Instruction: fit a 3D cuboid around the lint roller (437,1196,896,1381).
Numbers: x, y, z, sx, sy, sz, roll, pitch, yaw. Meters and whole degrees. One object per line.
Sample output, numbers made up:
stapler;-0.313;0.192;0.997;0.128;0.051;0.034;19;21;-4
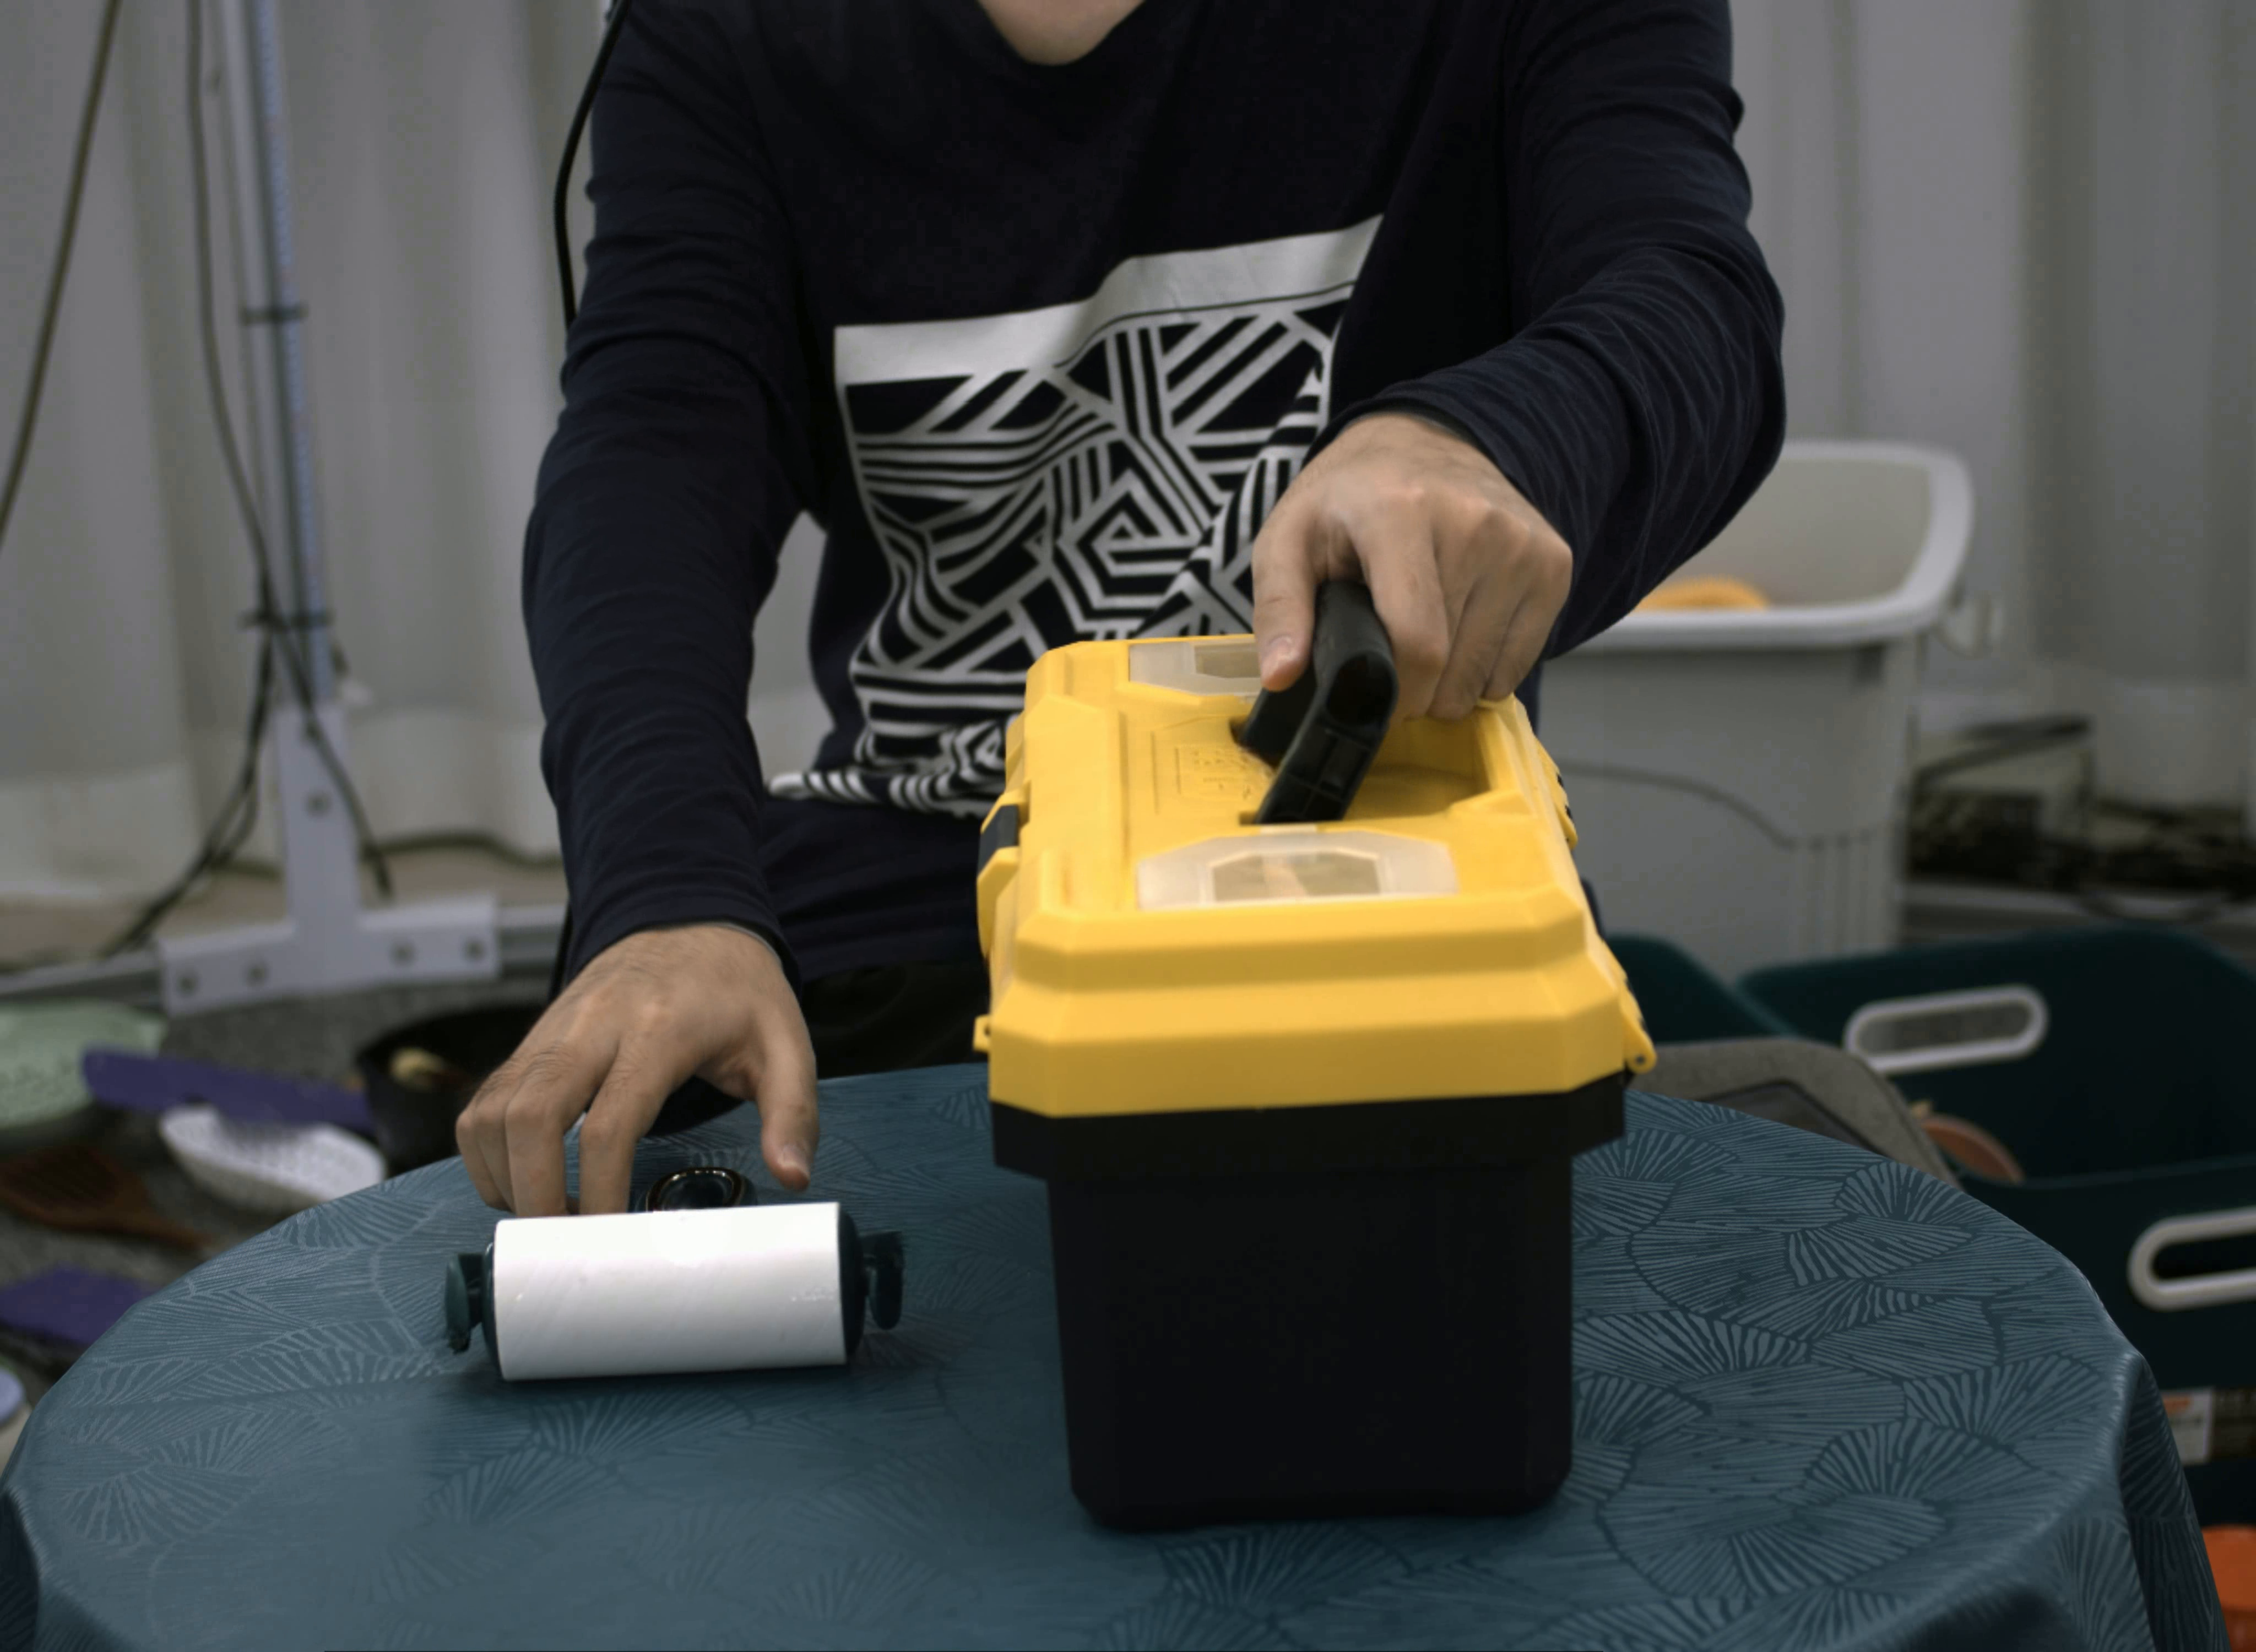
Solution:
lint roller;-0.134;0.121;1.642;0.134;0.048;0.181;-4;11;-1

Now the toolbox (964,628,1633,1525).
toolbox;0.044;0.063;1.571;0.181;0.172;0.354;-2;14;0
